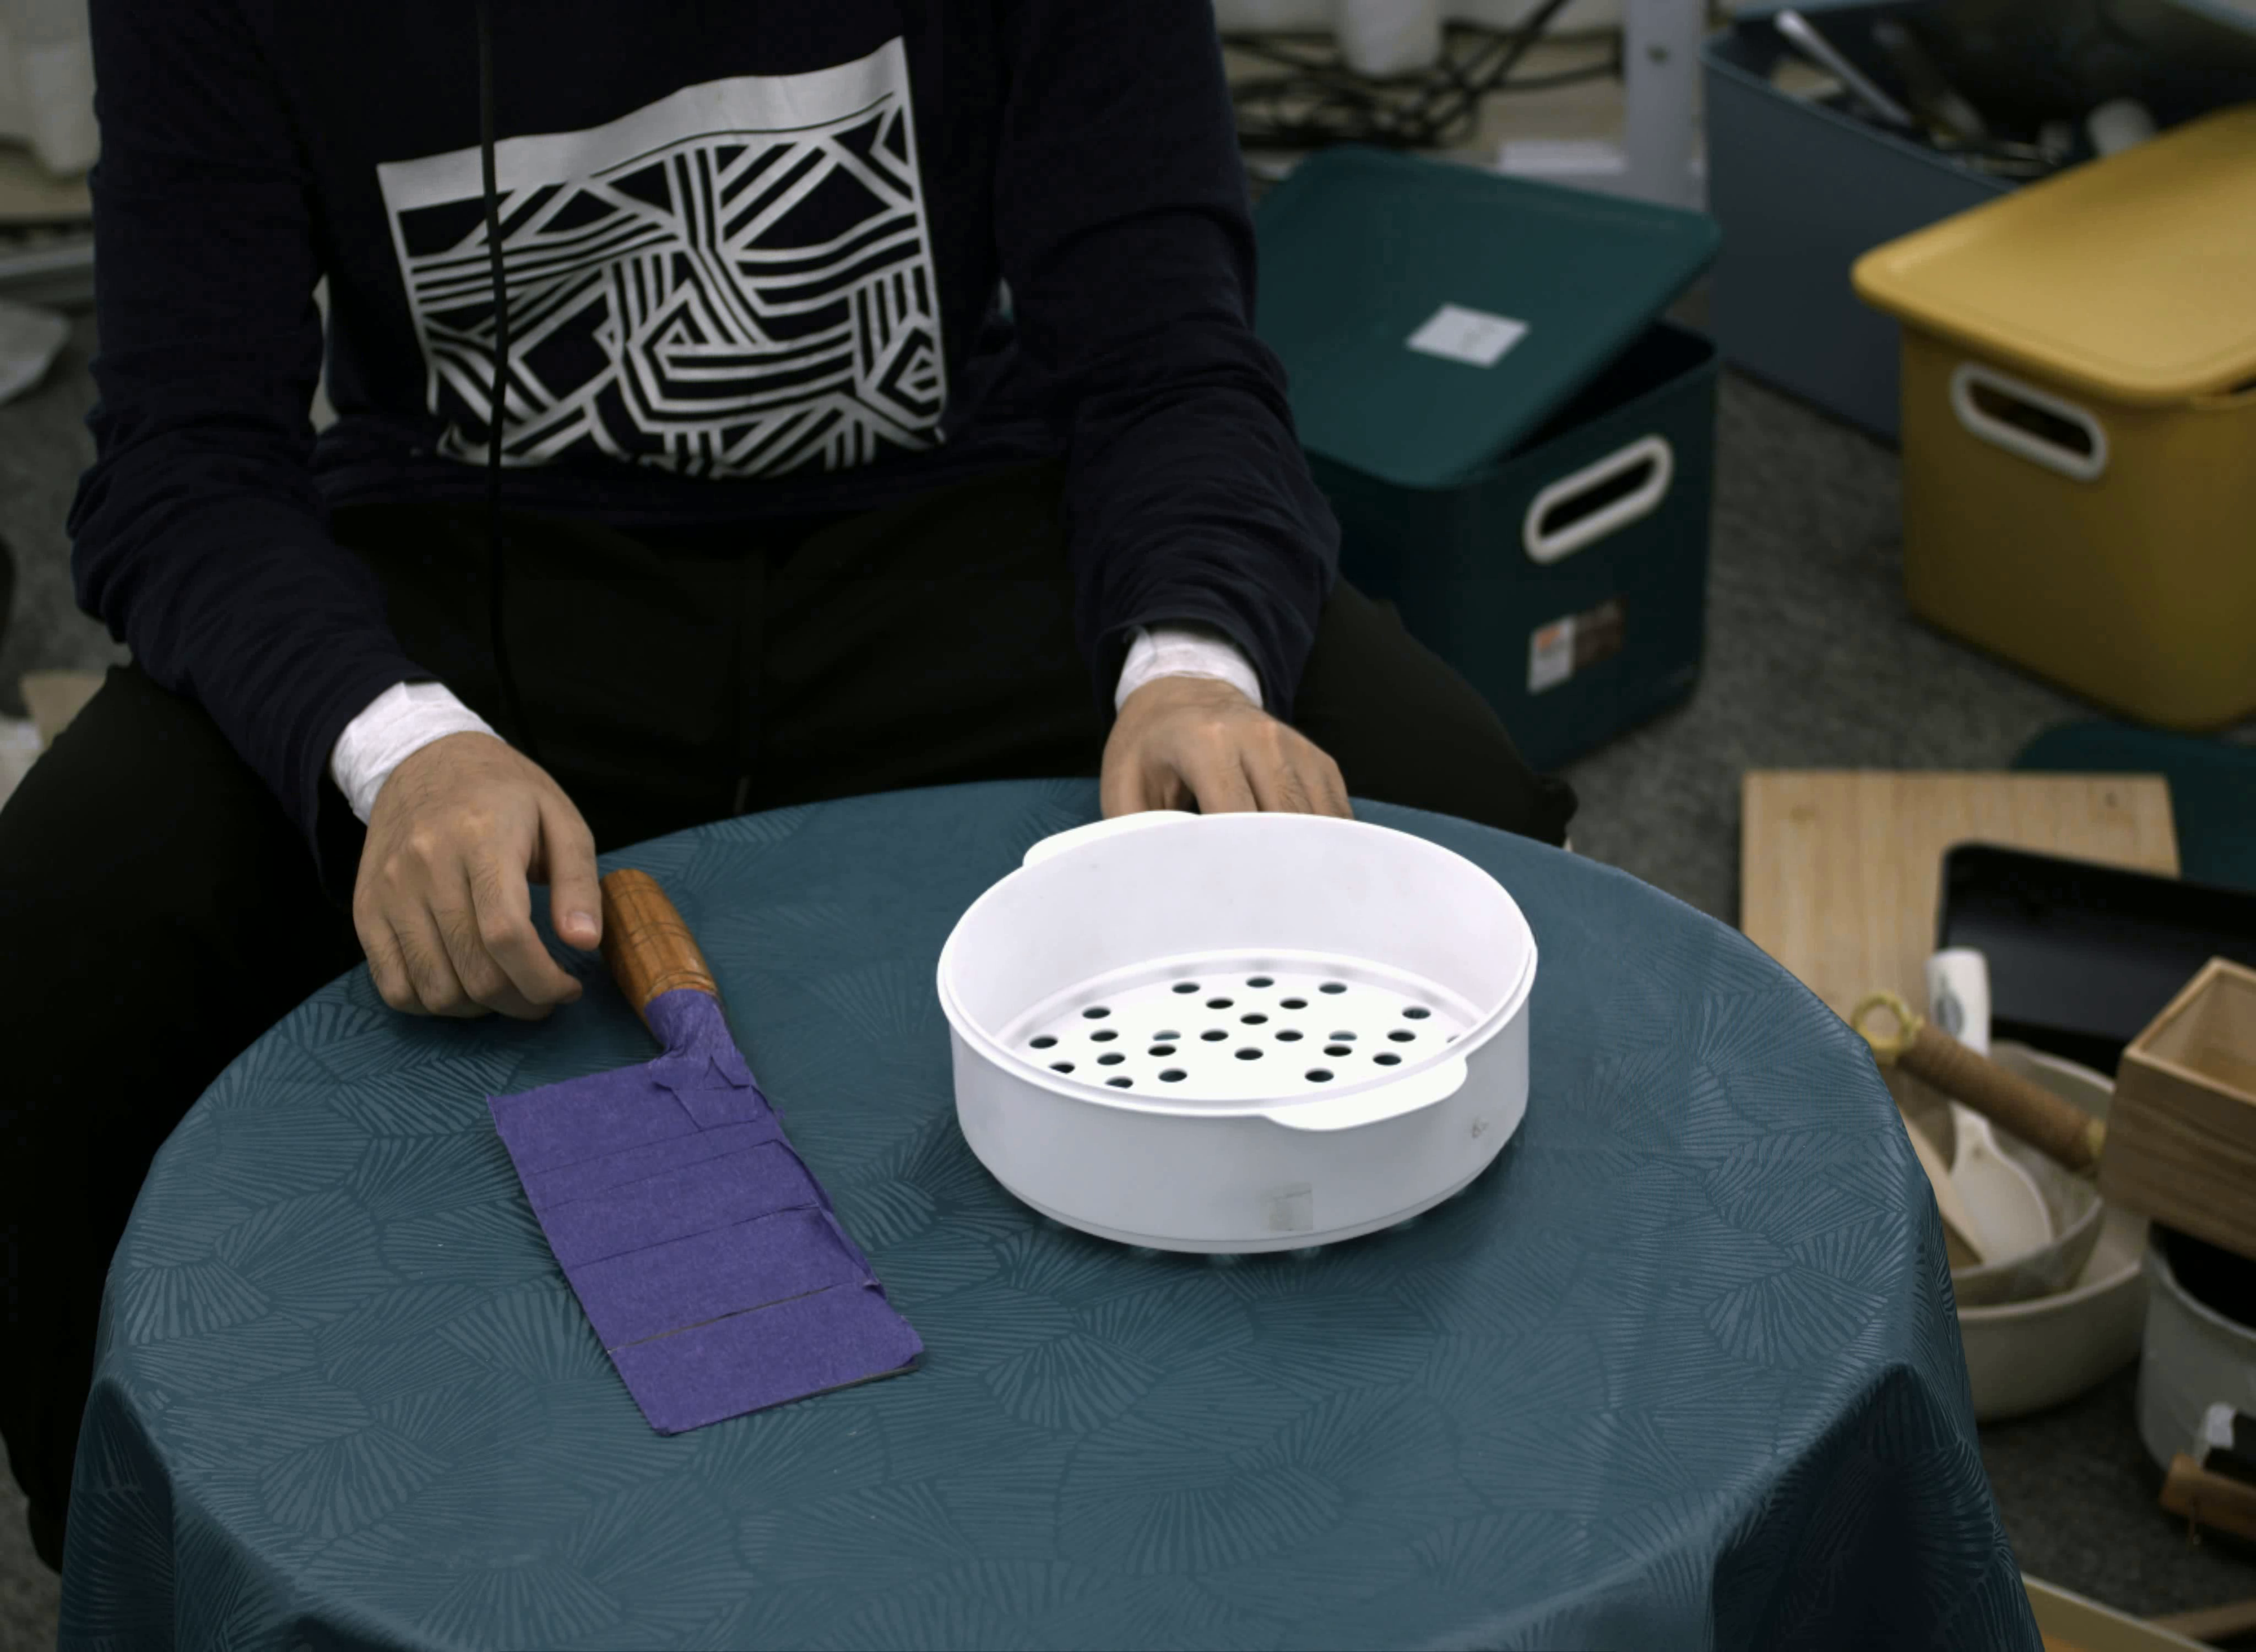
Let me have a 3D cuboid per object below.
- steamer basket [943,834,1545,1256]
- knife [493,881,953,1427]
[{"bbox_3d":[0.040,0.073,1.881,0.202,0.068,0.232,-13,26,-21],"label":"steamer basket"},{"bbox_3d":[-0.158,0.105,1.880,0.104,0.032,0.318,-12,29,-18],"label":"knife"}]
